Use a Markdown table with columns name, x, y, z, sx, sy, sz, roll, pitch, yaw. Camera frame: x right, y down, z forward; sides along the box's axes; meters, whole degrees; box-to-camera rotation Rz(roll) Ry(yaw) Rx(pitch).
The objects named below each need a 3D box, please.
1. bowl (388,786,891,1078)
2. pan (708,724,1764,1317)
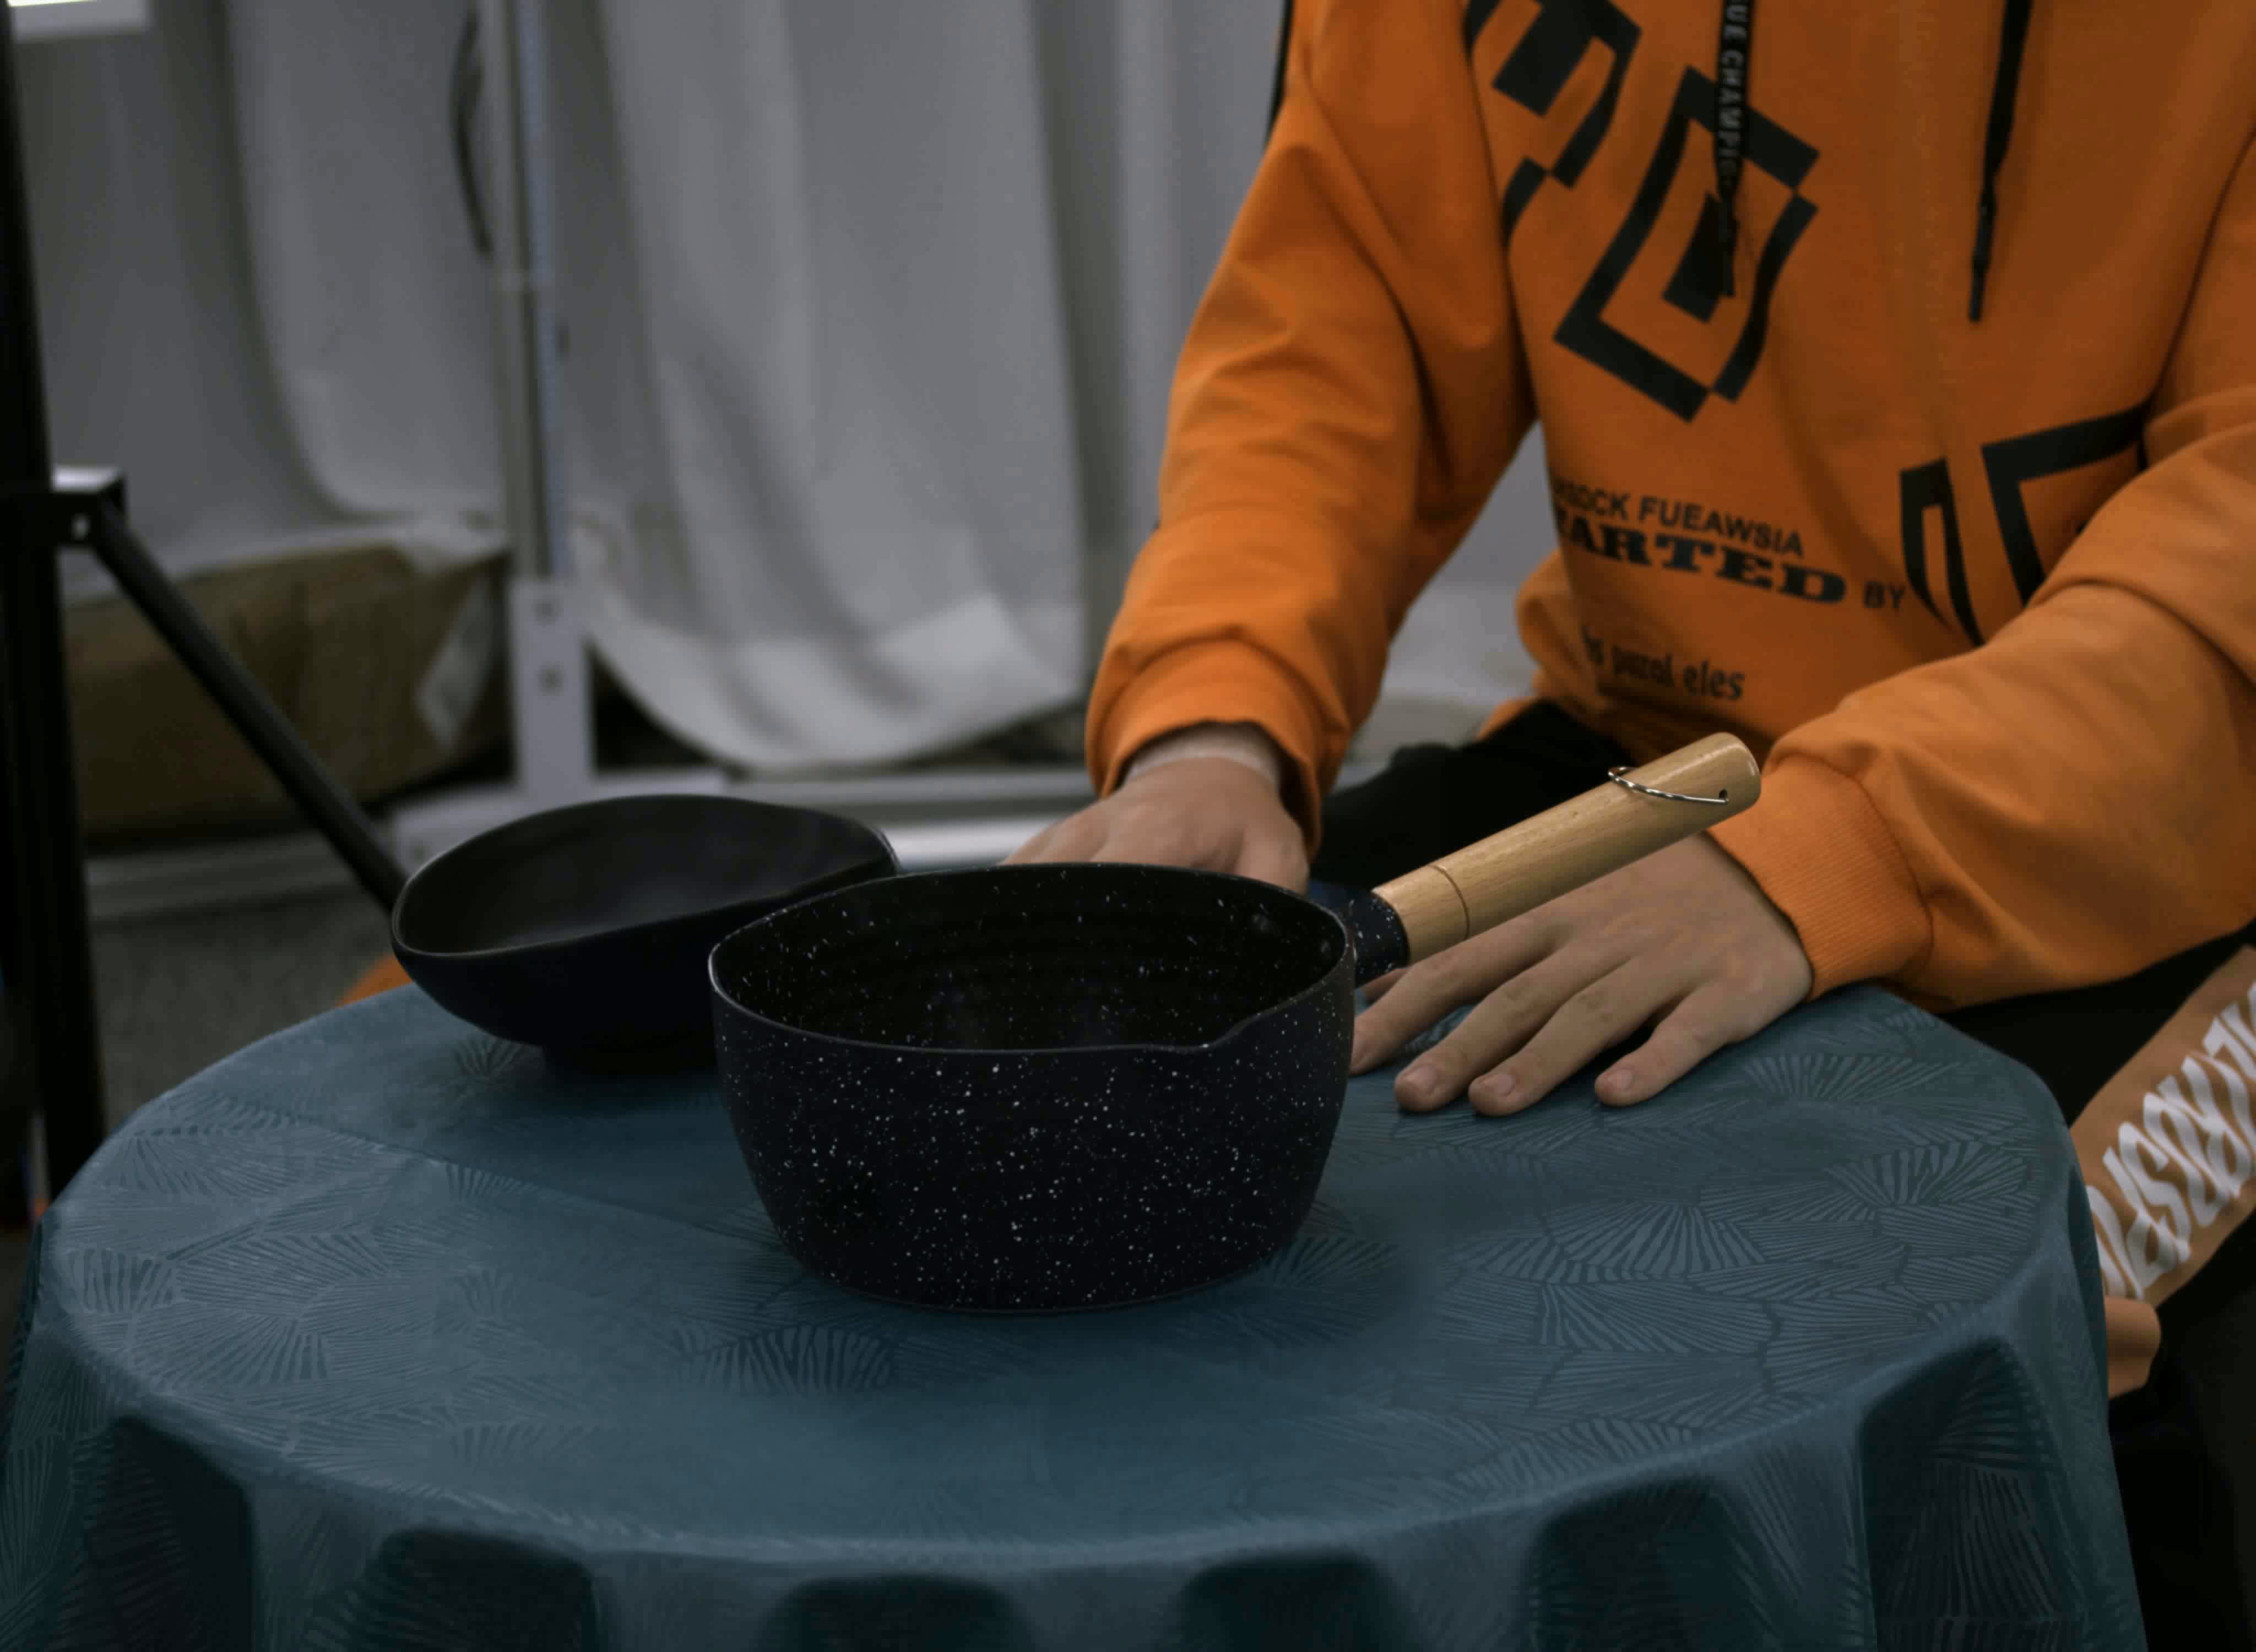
| name | x | y | z | sx | sy | sz | roll | pitch | yaw |
| --- | --- | --- | --- | --- | --- | --- | --- | --- | --- |
| bowl | -0.153 | 0.039 | 1.711 | 0.166 | 0.066 | 0.140 | -16 | 20 | -33 |
| pan | 0.042 | 0.052 | 1.554 | 0.335 | 0.108 | 0.212 | -12 | 17 | -27 |
